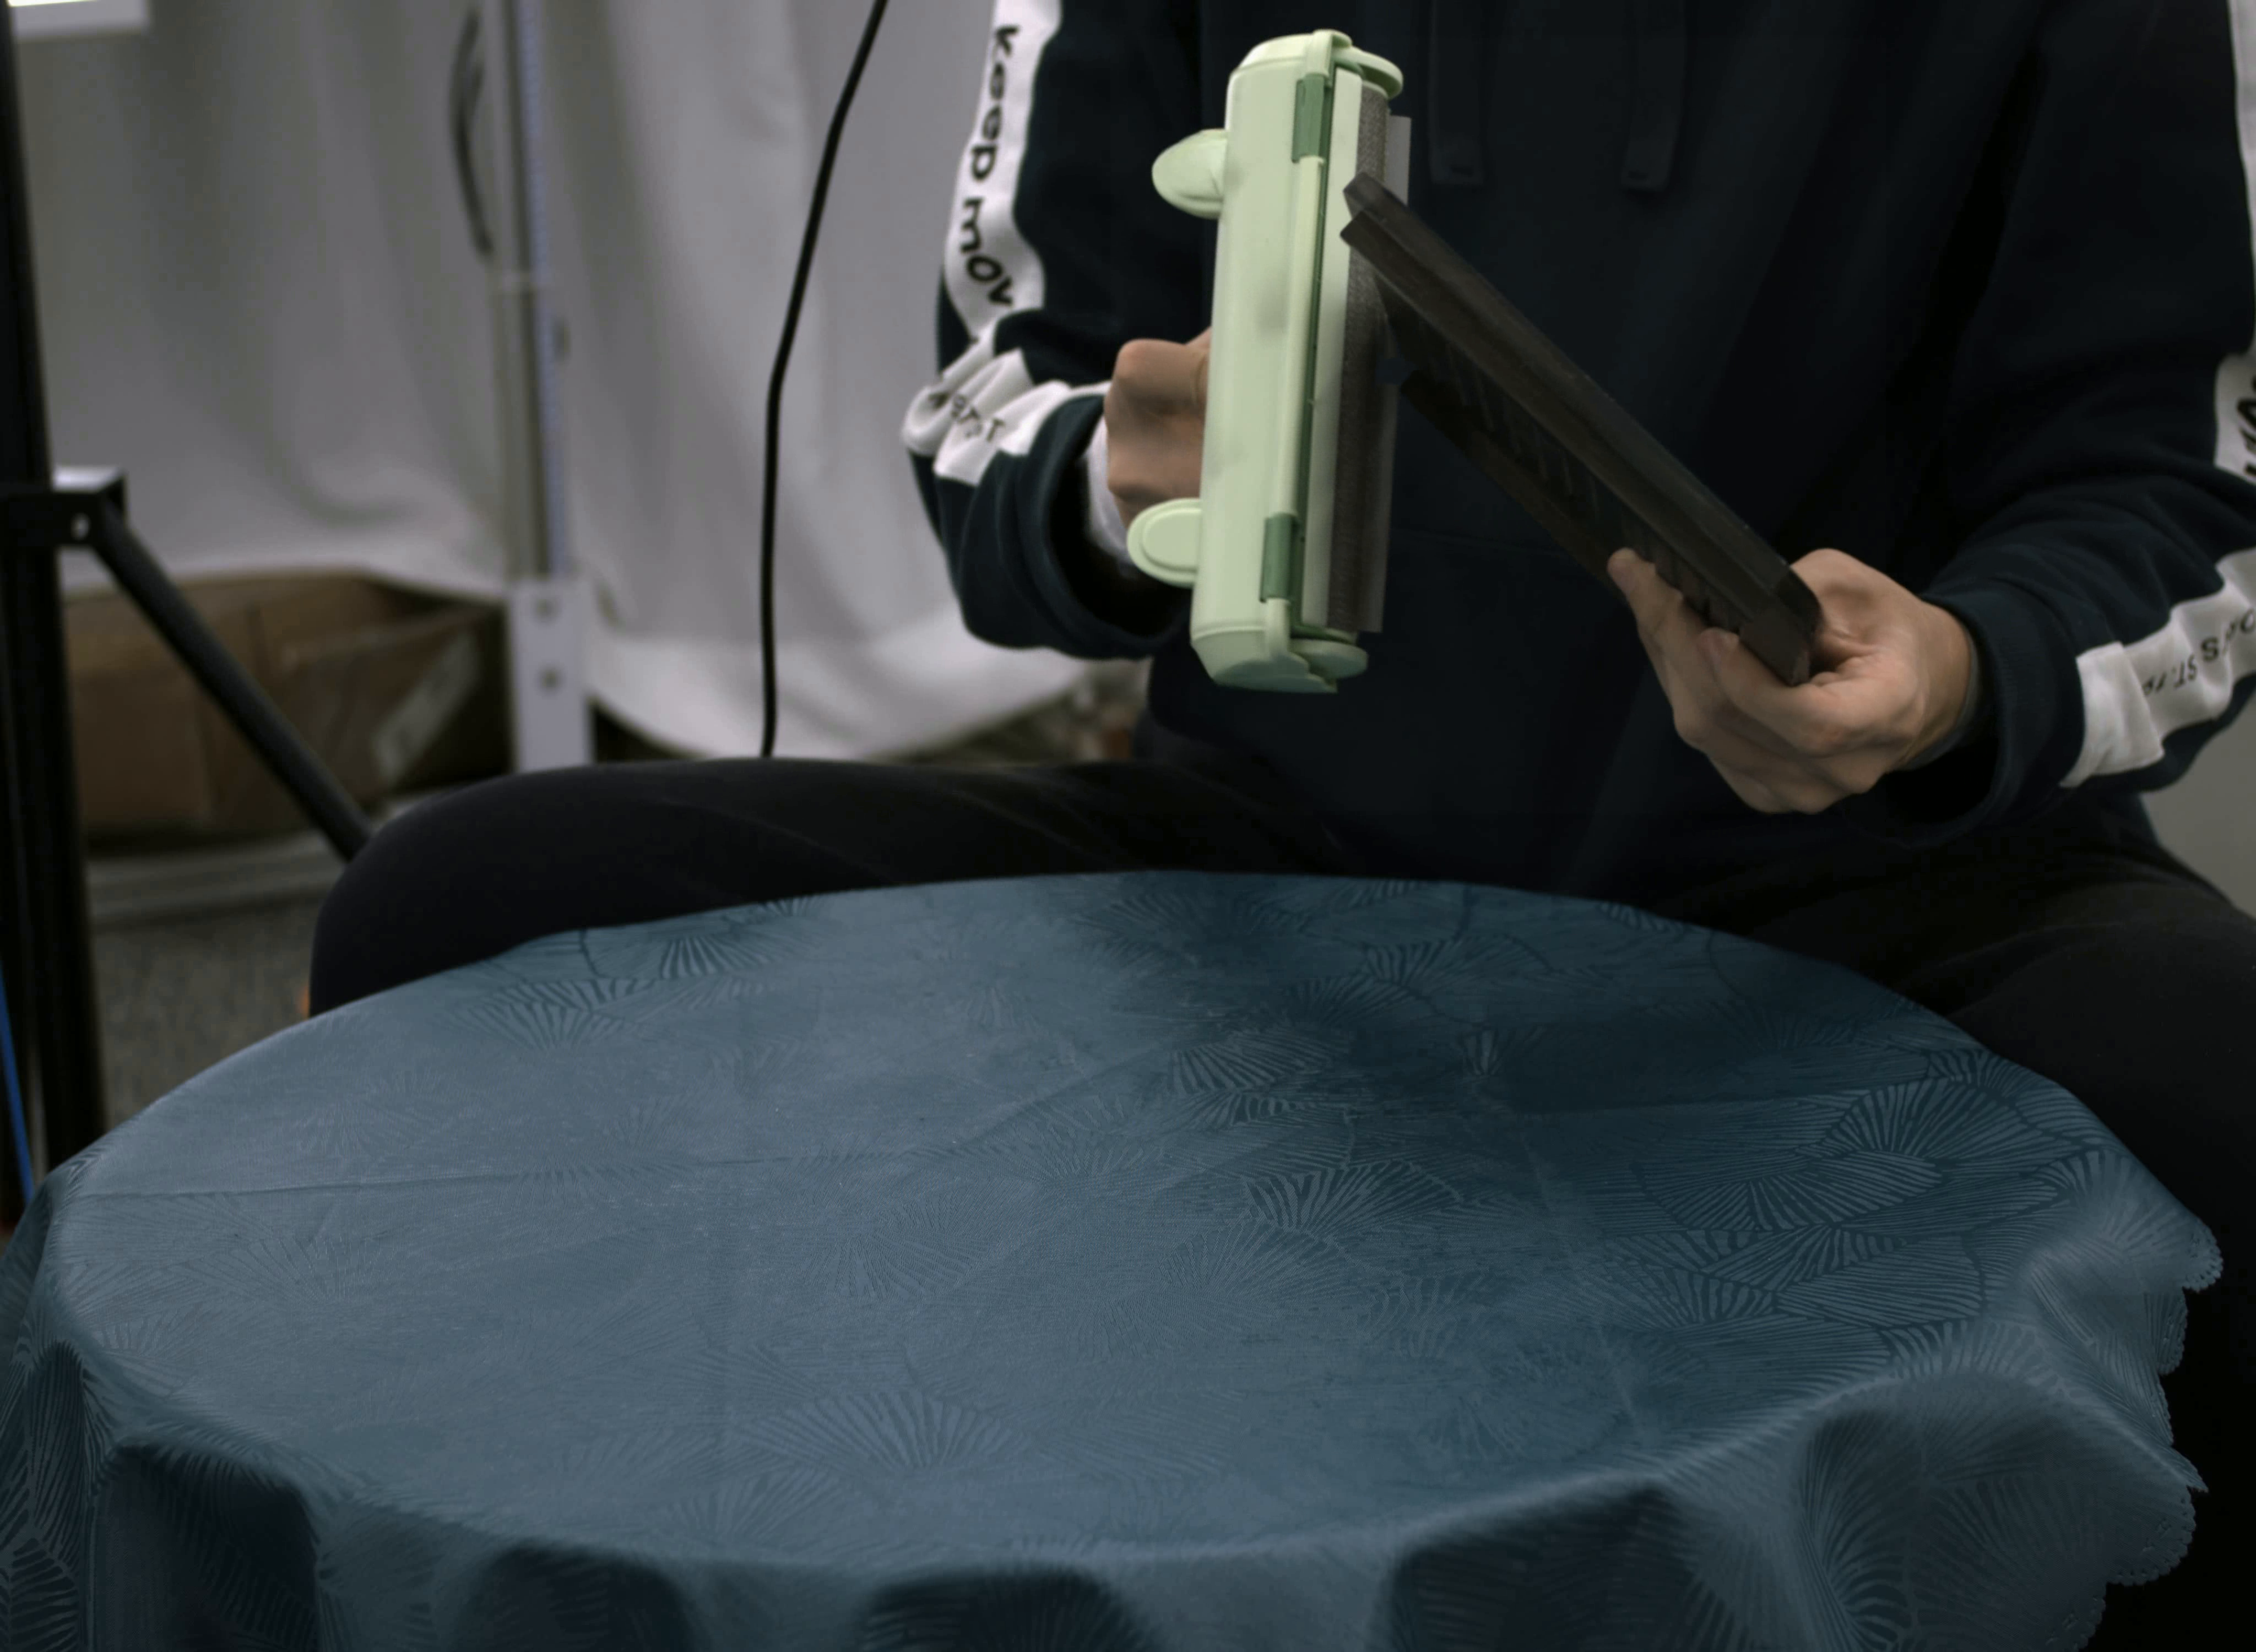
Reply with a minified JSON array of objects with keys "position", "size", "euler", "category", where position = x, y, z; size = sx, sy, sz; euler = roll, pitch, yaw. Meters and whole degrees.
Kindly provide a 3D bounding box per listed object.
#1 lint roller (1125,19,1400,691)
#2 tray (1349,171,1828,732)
[{"position":[0.030,-0.134,1.664],"size":[0.081,0.200,0.185],"euler":[6,-10,-13],"category":"lint roller"},{"position":[0.133,-0.098,1.540],"size":[0.018,0.171,0.303],"euler":[-46,-8,1],"category":"tray"}]
